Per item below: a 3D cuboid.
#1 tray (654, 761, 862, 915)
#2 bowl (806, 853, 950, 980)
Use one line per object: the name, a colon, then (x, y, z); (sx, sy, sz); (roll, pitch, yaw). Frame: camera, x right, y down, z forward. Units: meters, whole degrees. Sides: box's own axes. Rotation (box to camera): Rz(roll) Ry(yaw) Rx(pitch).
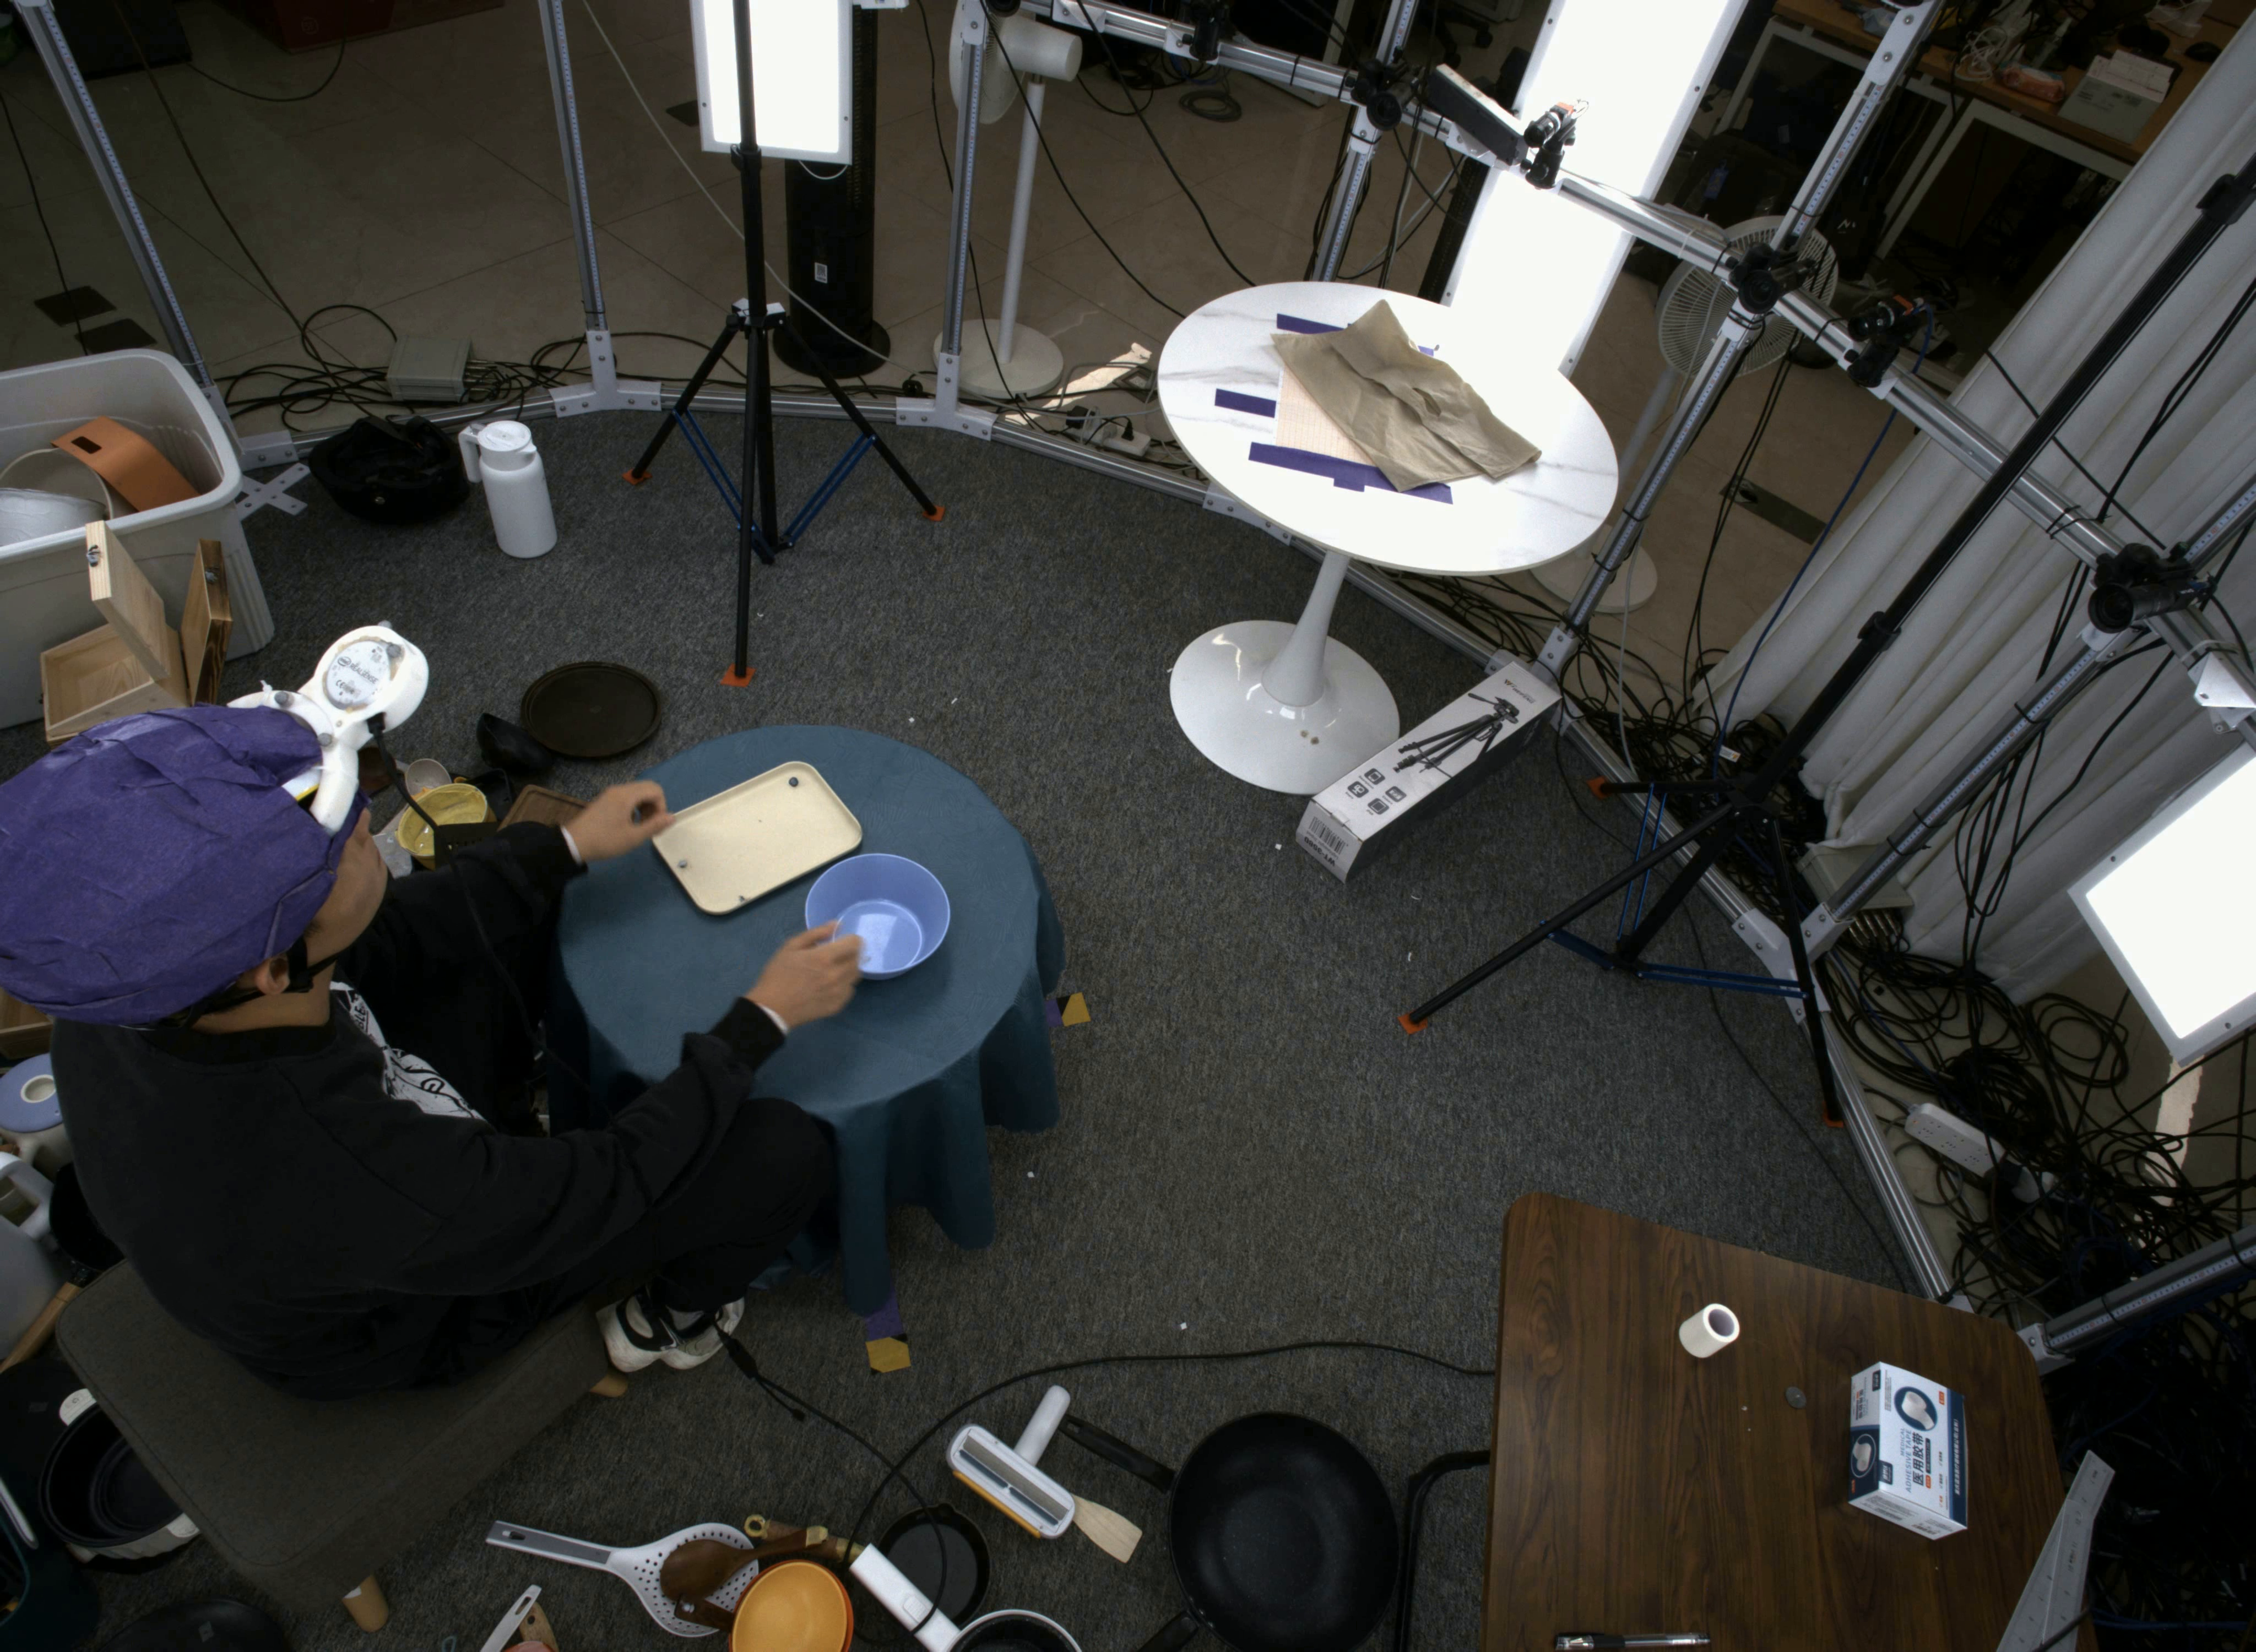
tray: (-0.483, 0.013, 1.693); (0.240, 0.018, 0.167); (-30, 65, -31)
bowl: (-0.310, 0.122, 1.622); (0.175, 0.072, 0.173); (7, 52, -8)
